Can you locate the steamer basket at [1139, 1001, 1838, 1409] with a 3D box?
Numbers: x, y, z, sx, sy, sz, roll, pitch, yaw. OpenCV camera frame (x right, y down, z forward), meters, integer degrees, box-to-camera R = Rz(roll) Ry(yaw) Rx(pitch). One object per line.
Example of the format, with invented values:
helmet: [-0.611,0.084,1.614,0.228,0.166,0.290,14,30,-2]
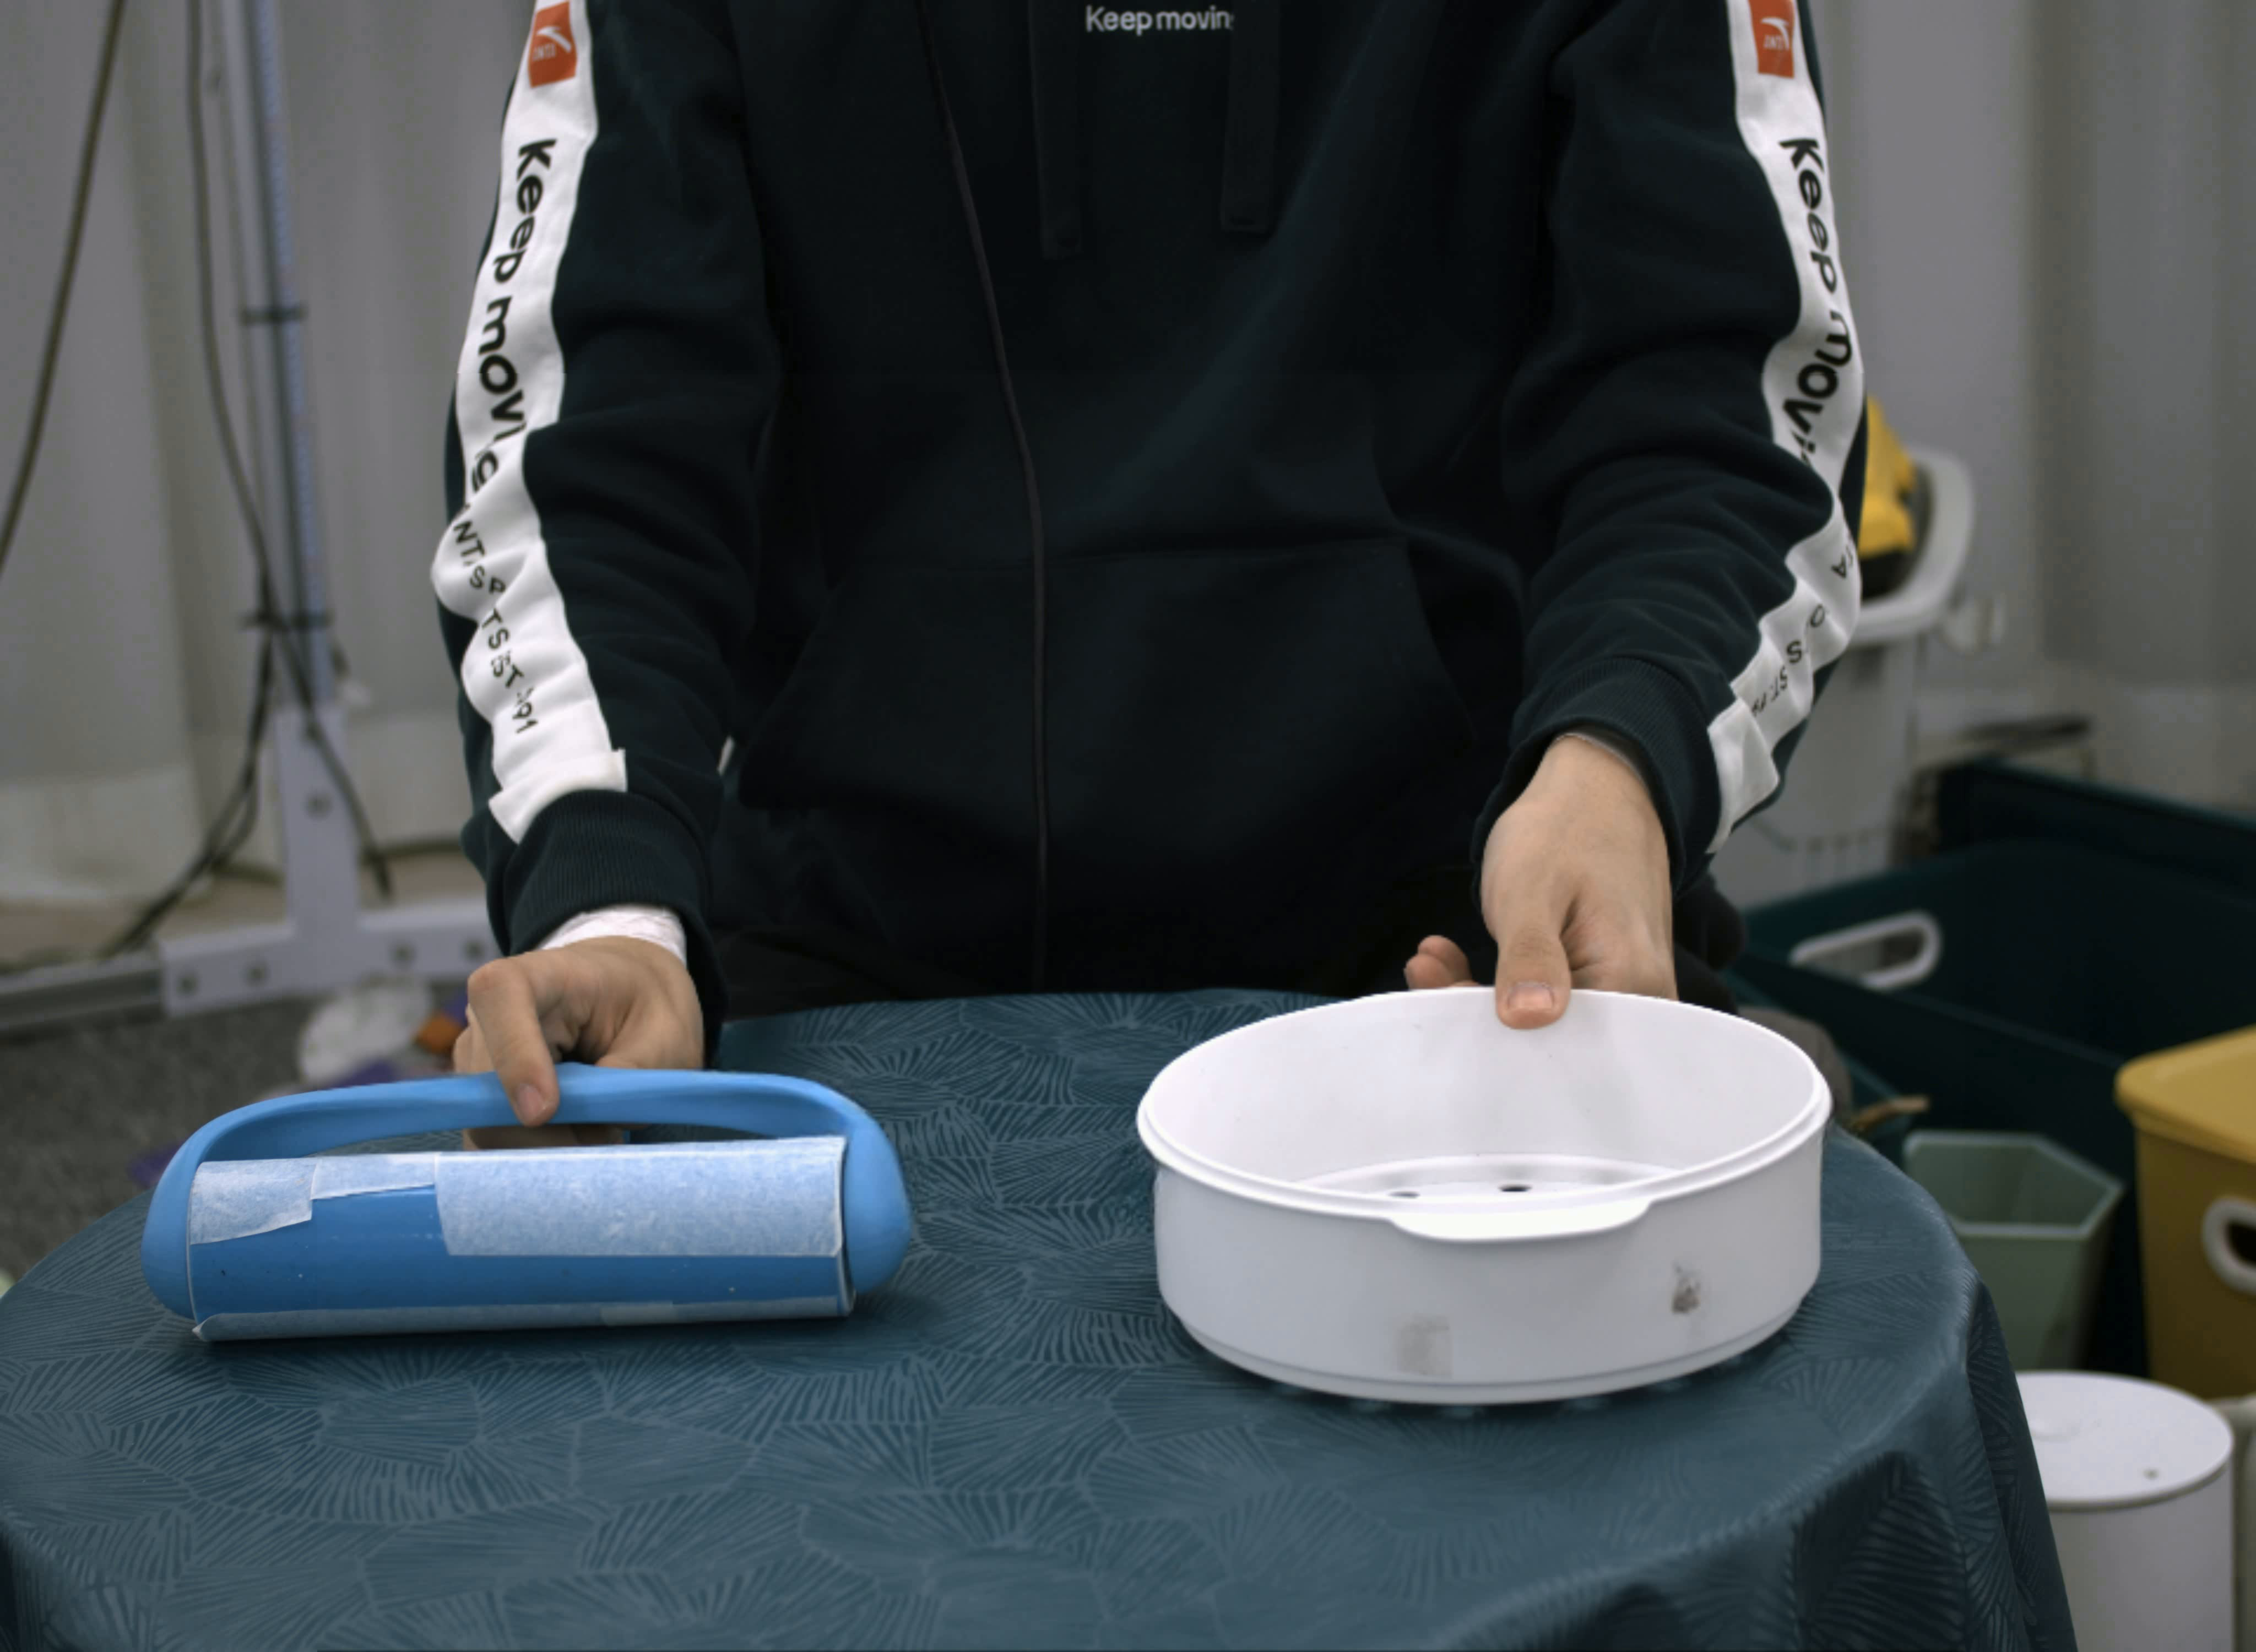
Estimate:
steamer basket: [0.104,0.109,1.583,0.201,0.069,0.232,-3,14,-2]

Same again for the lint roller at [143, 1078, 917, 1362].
lint roller: [-0.179,0.108,1.671,0.228,0.067,0.181,-6,16,-1]
